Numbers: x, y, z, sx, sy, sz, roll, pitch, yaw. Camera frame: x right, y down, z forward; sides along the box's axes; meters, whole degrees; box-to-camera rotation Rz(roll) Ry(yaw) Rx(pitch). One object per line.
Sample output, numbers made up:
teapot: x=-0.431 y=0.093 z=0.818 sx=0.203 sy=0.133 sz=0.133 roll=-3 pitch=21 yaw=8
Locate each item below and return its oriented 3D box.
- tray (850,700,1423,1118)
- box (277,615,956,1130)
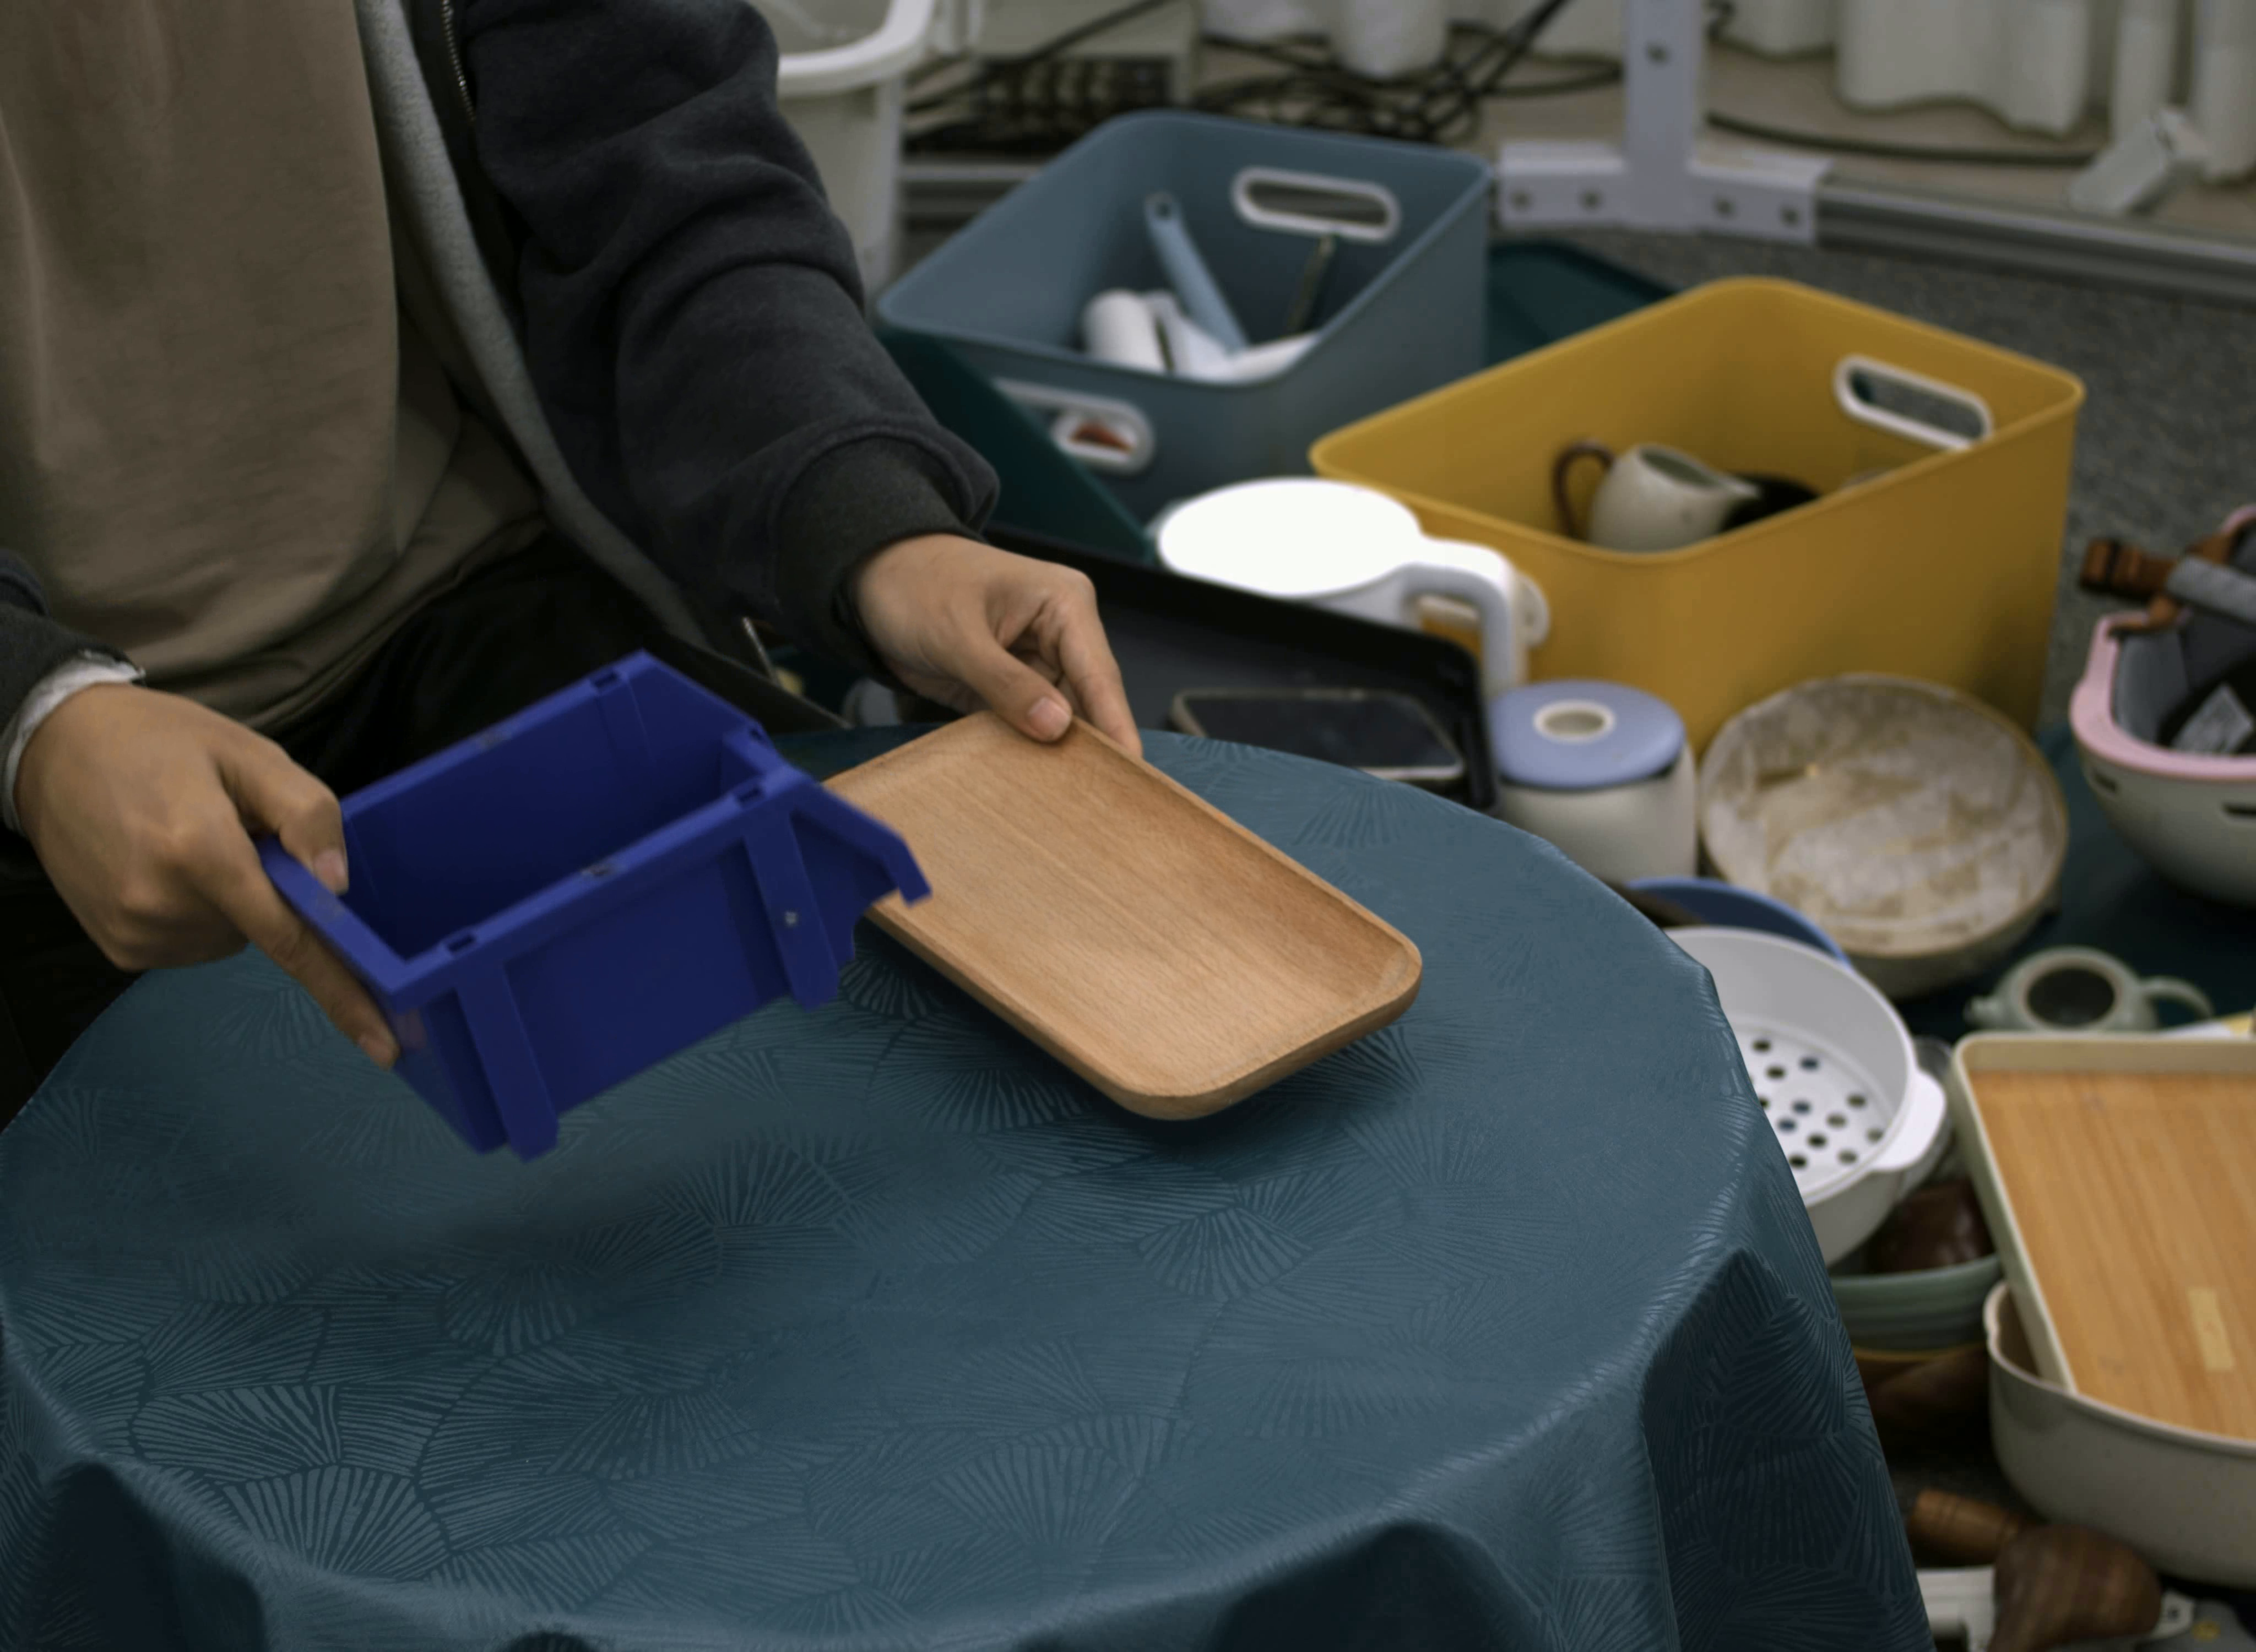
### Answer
tray: x=-0.012 y=0.027 z=1.972 sx=0.131 sy=0.022 sz=0.251 roll=-22 pitch=35 yaw=-29
box: x=-0.164 y=0.010 z=1.816 sx=0.180 sy=0.081 sz=0.125 roll=-30 pitch=33 yaw=-16
